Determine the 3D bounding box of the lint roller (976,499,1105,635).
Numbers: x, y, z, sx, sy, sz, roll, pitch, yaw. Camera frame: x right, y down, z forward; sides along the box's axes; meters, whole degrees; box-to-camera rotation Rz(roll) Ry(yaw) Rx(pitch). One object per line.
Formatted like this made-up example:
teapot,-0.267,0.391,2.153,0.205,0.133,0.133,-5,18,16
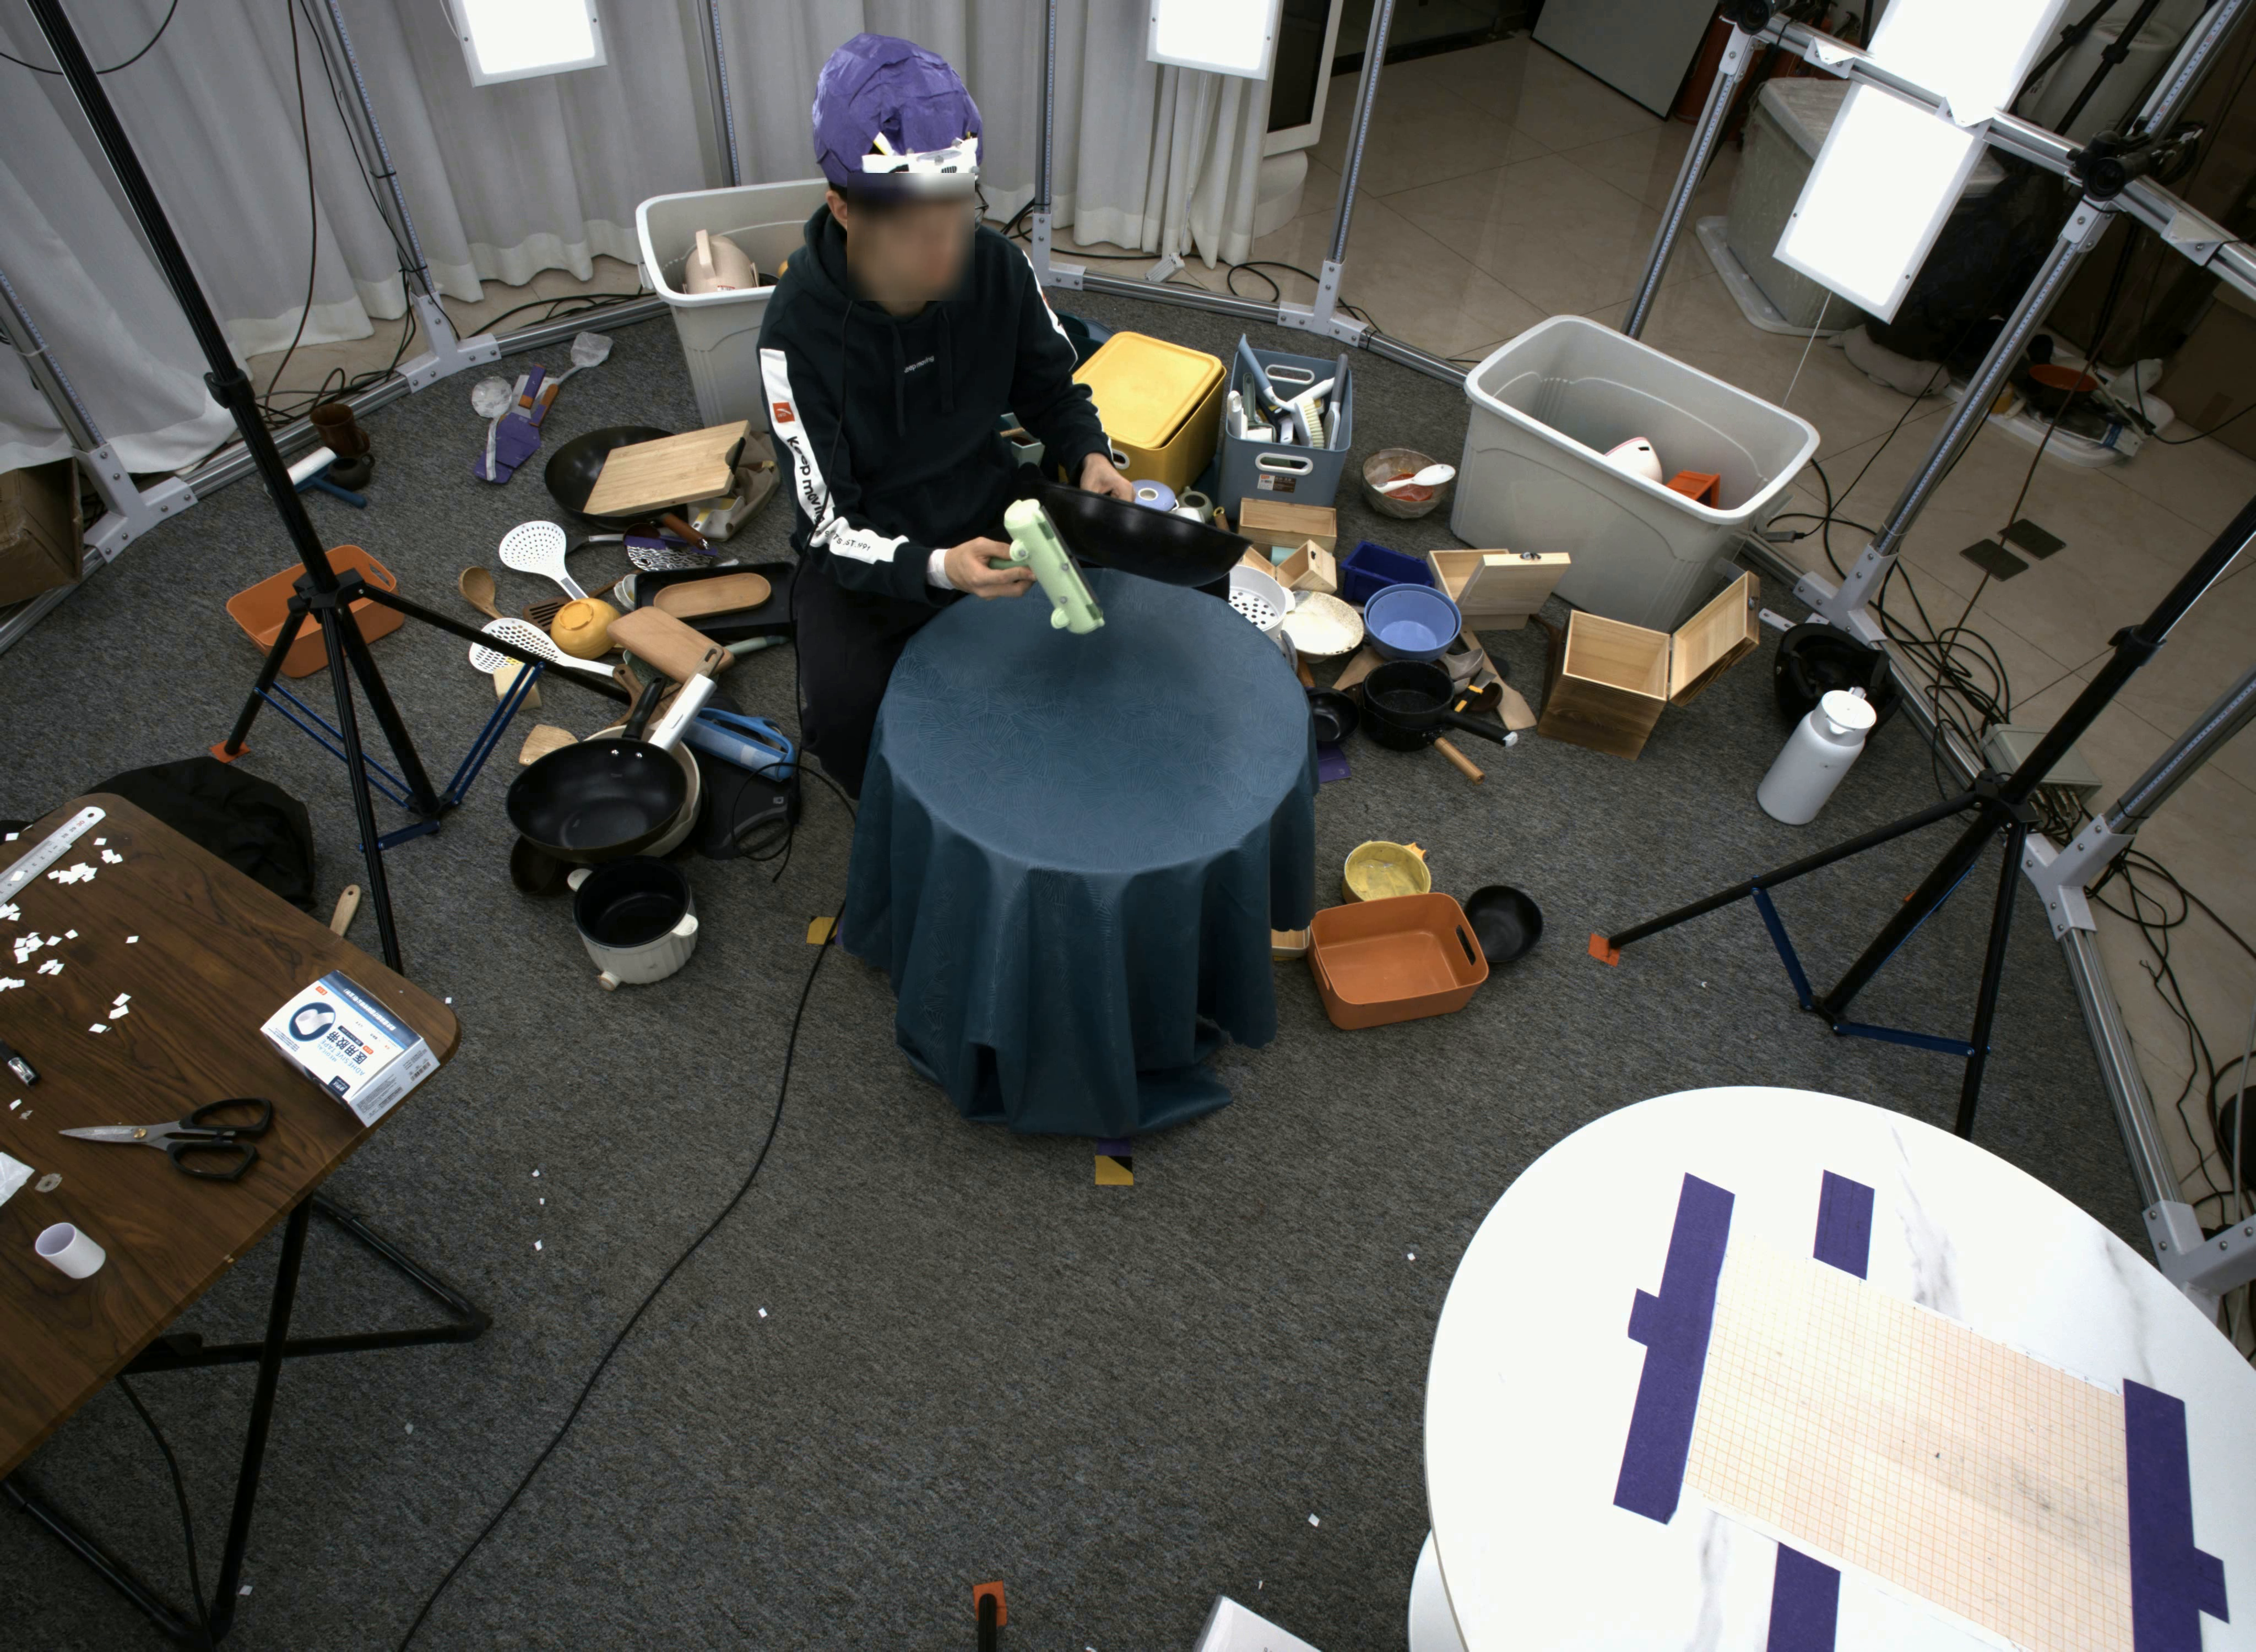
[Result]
lint roller,-0.144,-0.330,1.707,0.184,0.194,0.083,0,48,37

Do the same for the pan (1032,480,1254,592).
pan,-0.007,-0.413,1.812,0.308,0.111,0.483,13,12,-18
